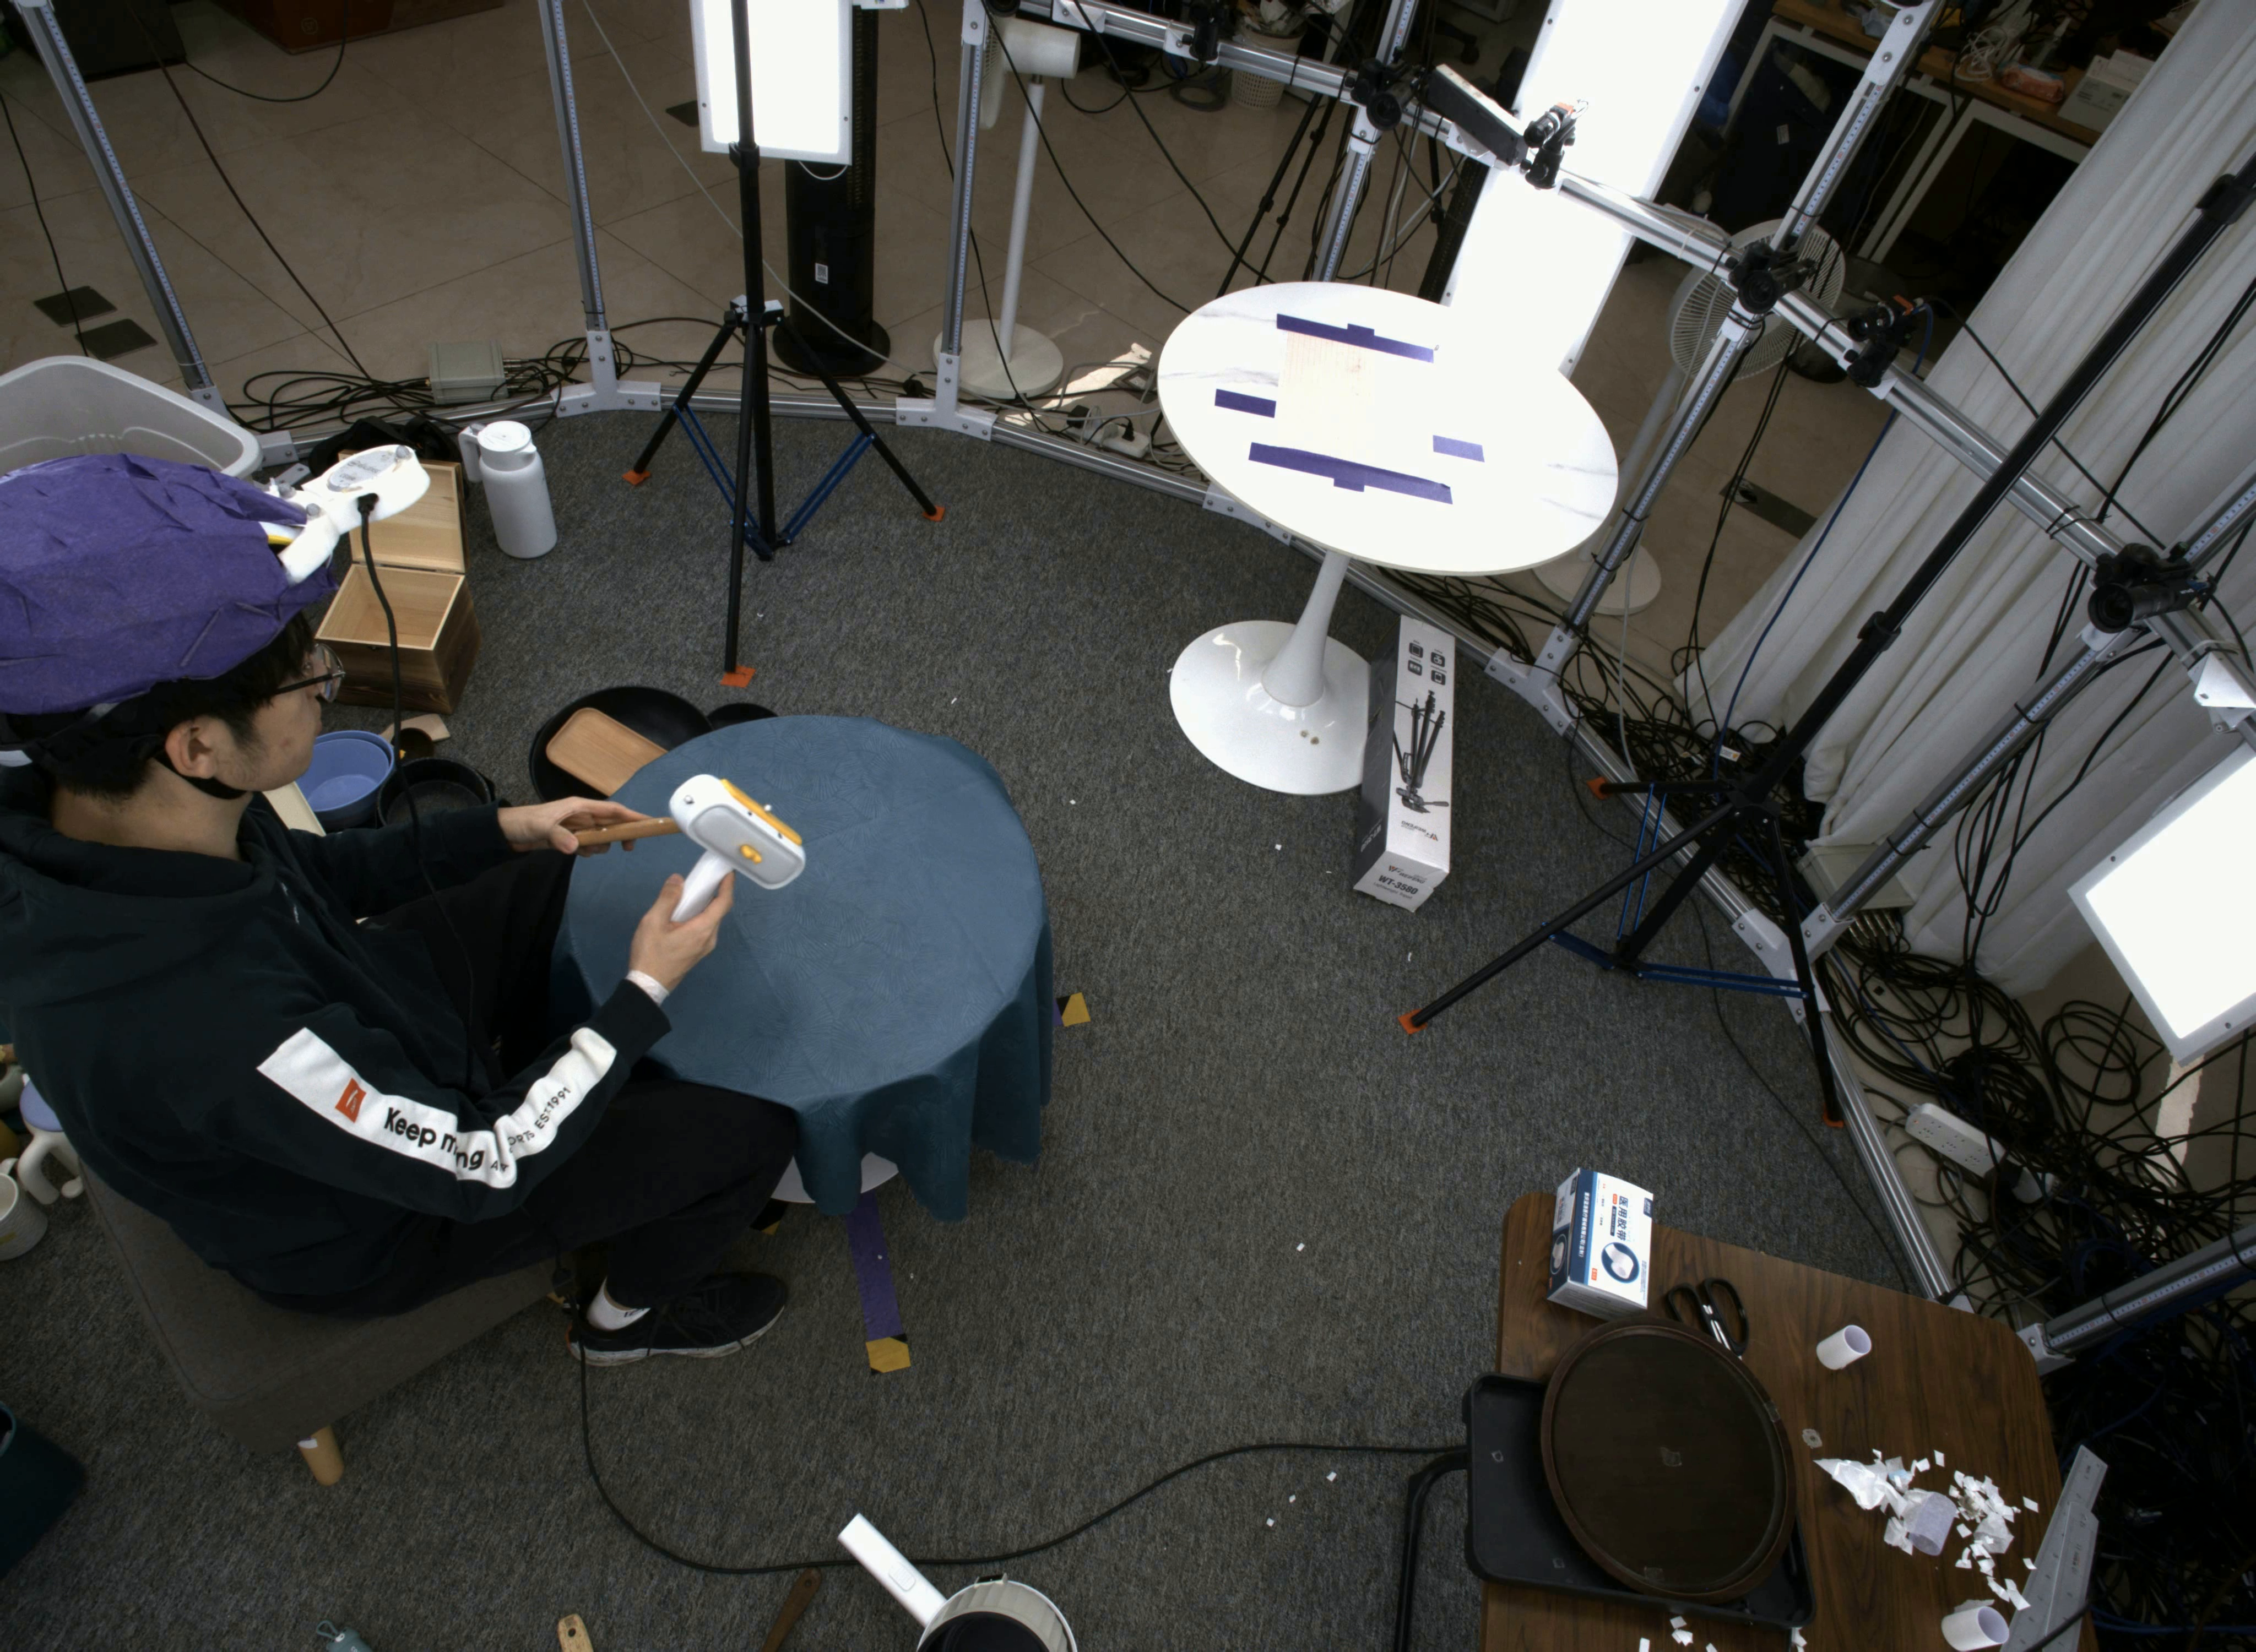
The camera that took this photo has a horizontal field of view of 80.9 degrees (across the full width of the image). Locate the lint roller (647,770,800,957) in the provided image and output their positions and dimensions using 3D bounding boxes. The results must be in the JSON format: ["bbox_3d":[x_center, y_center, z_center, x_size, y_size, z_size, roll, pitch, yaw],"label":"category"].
[{"bbox_3d":[-0.466,0.051,1.409,0.072,0.199,0.193,40,89,28],"label":"lint roller"}]

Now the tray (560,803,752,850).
[{"bbox_3d":[-0.541,-0.002,1.460,0.229,0.100,0.021,-8,96,-5],"label":"tray"}]
